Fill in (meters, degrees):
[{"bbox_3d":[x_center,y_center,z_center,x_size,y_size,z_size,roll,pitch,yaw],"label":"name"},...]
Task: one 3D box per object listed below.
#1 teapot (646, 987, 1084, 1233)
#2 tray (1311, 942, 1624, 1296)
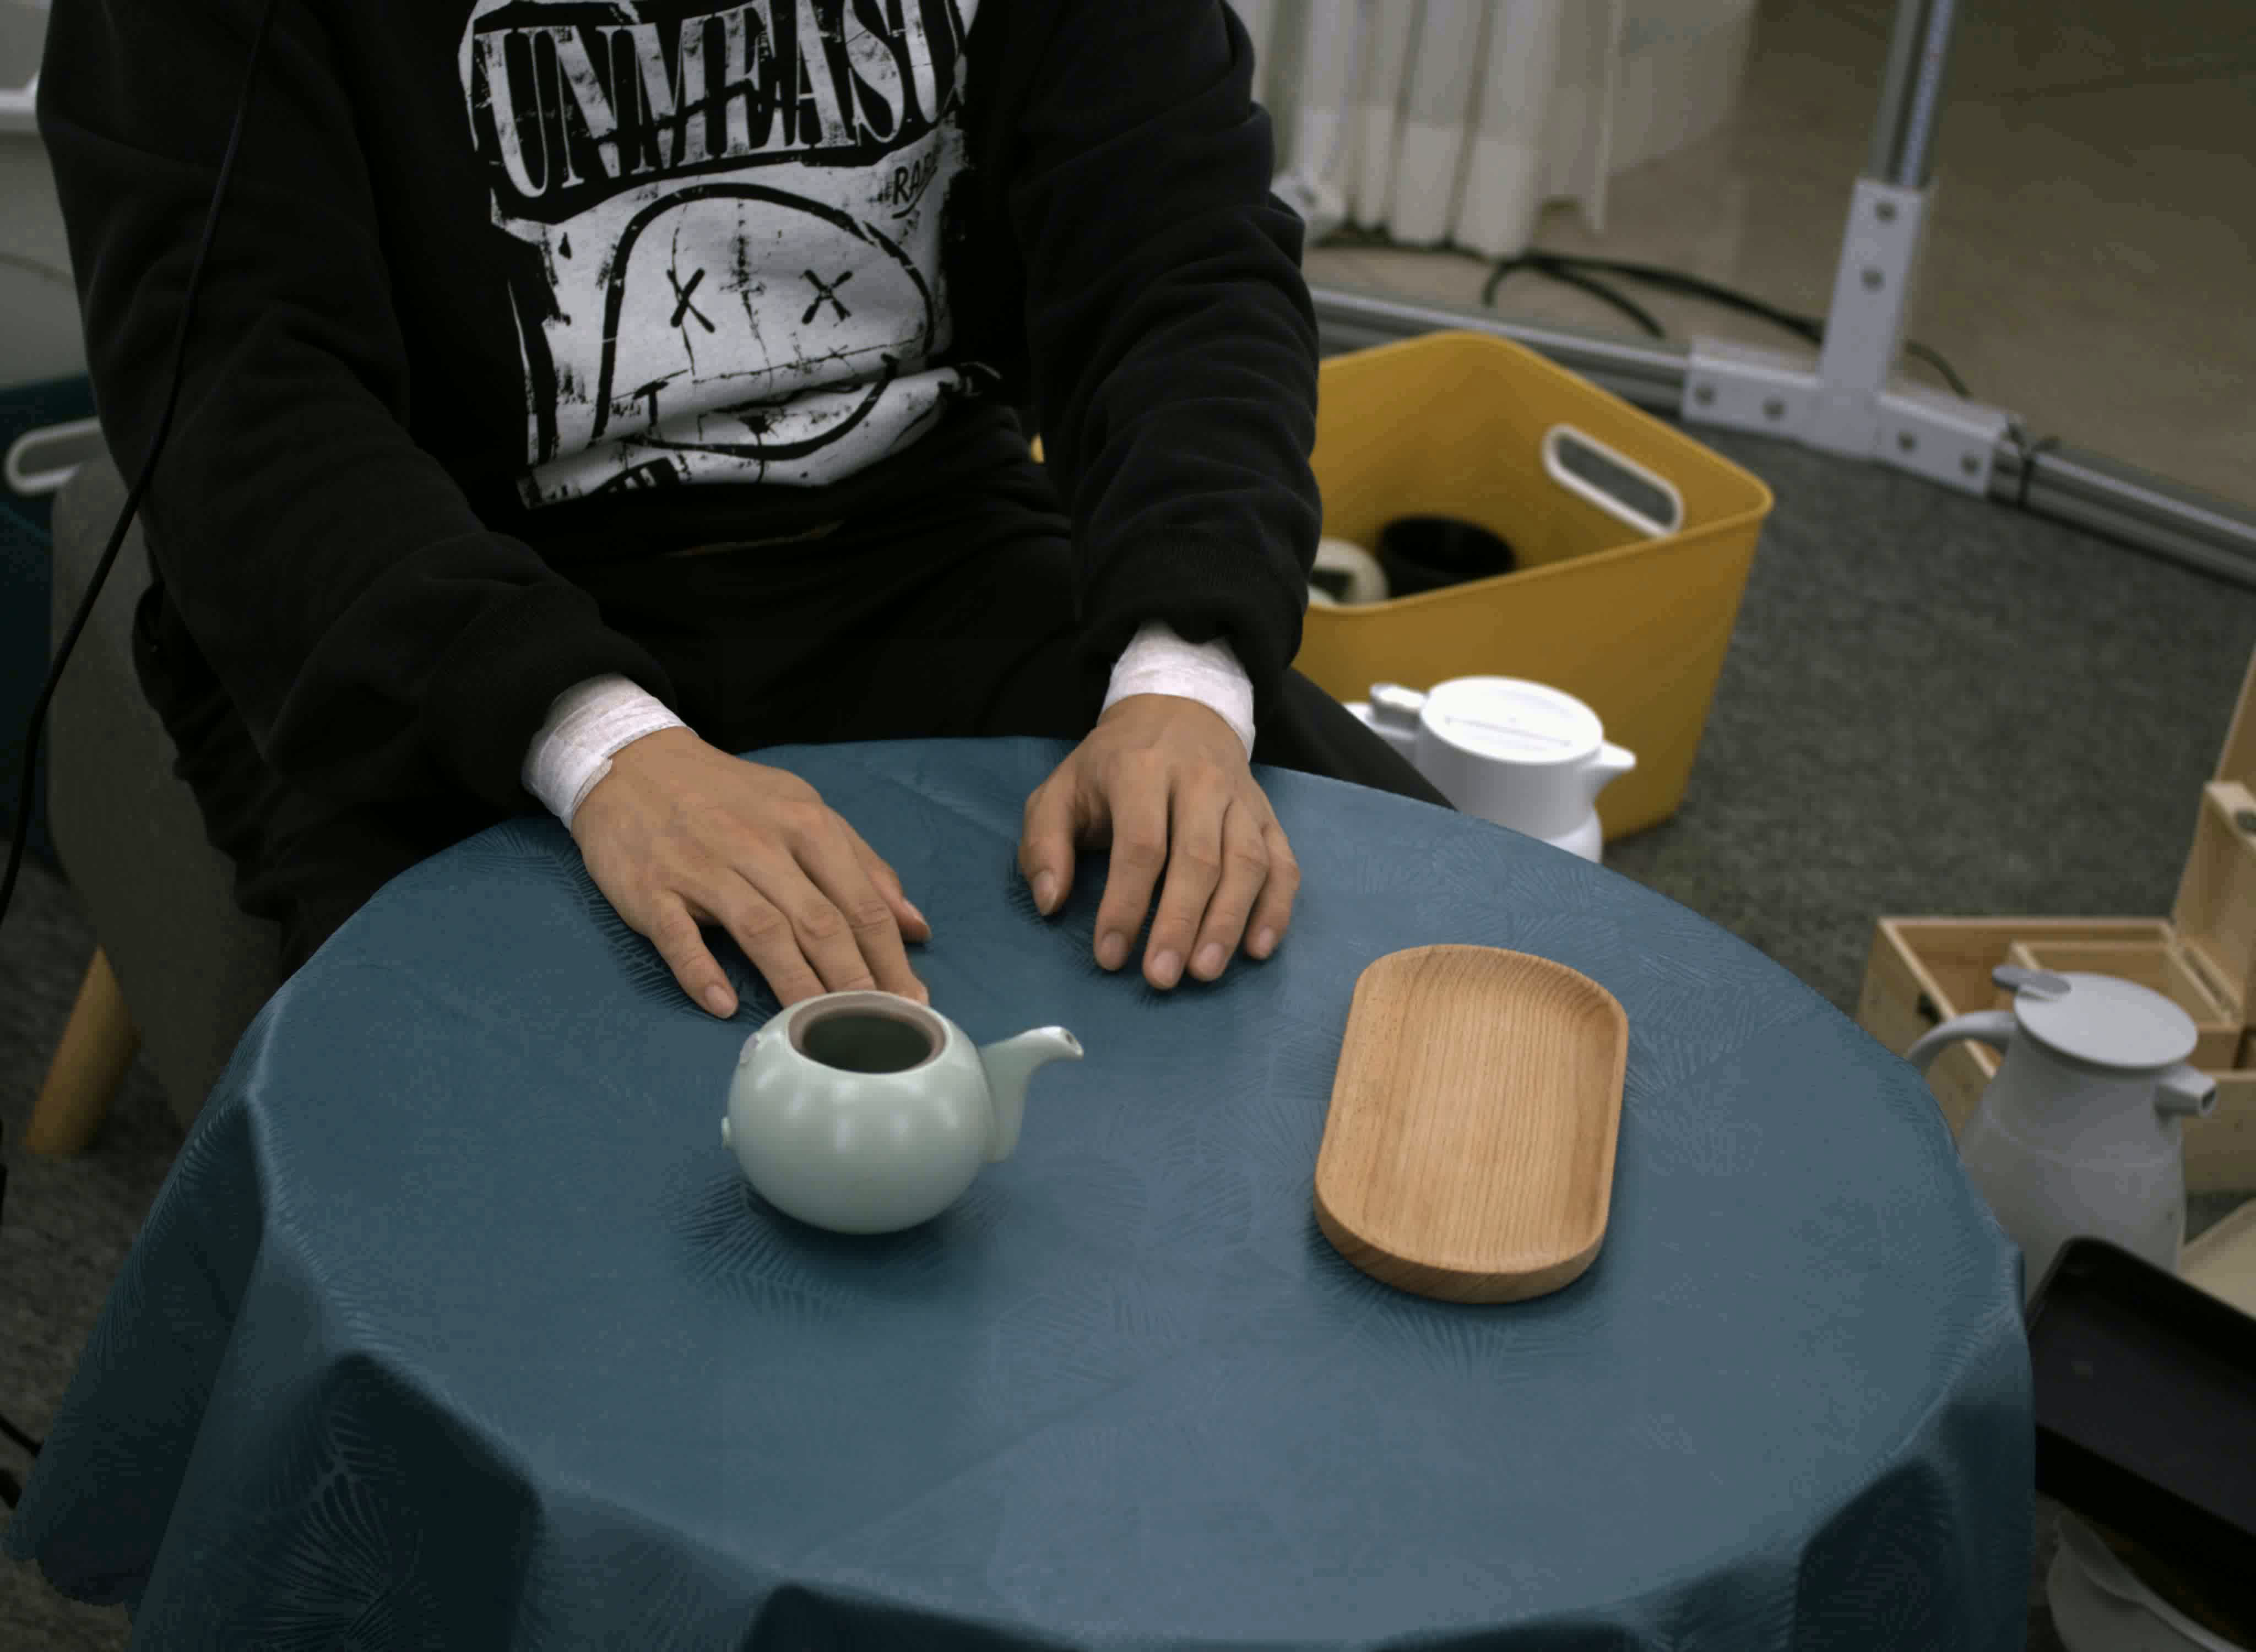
[{"bbox_3d":[-0.089,0.093,1.764,0.143,0.074,0.089,7,27,-4],"label":"teapot"},{"bbox_3d":[0.120,0.100,1.862,0.101,0.020,0.232,10,25,3],"label":"tray"}]
